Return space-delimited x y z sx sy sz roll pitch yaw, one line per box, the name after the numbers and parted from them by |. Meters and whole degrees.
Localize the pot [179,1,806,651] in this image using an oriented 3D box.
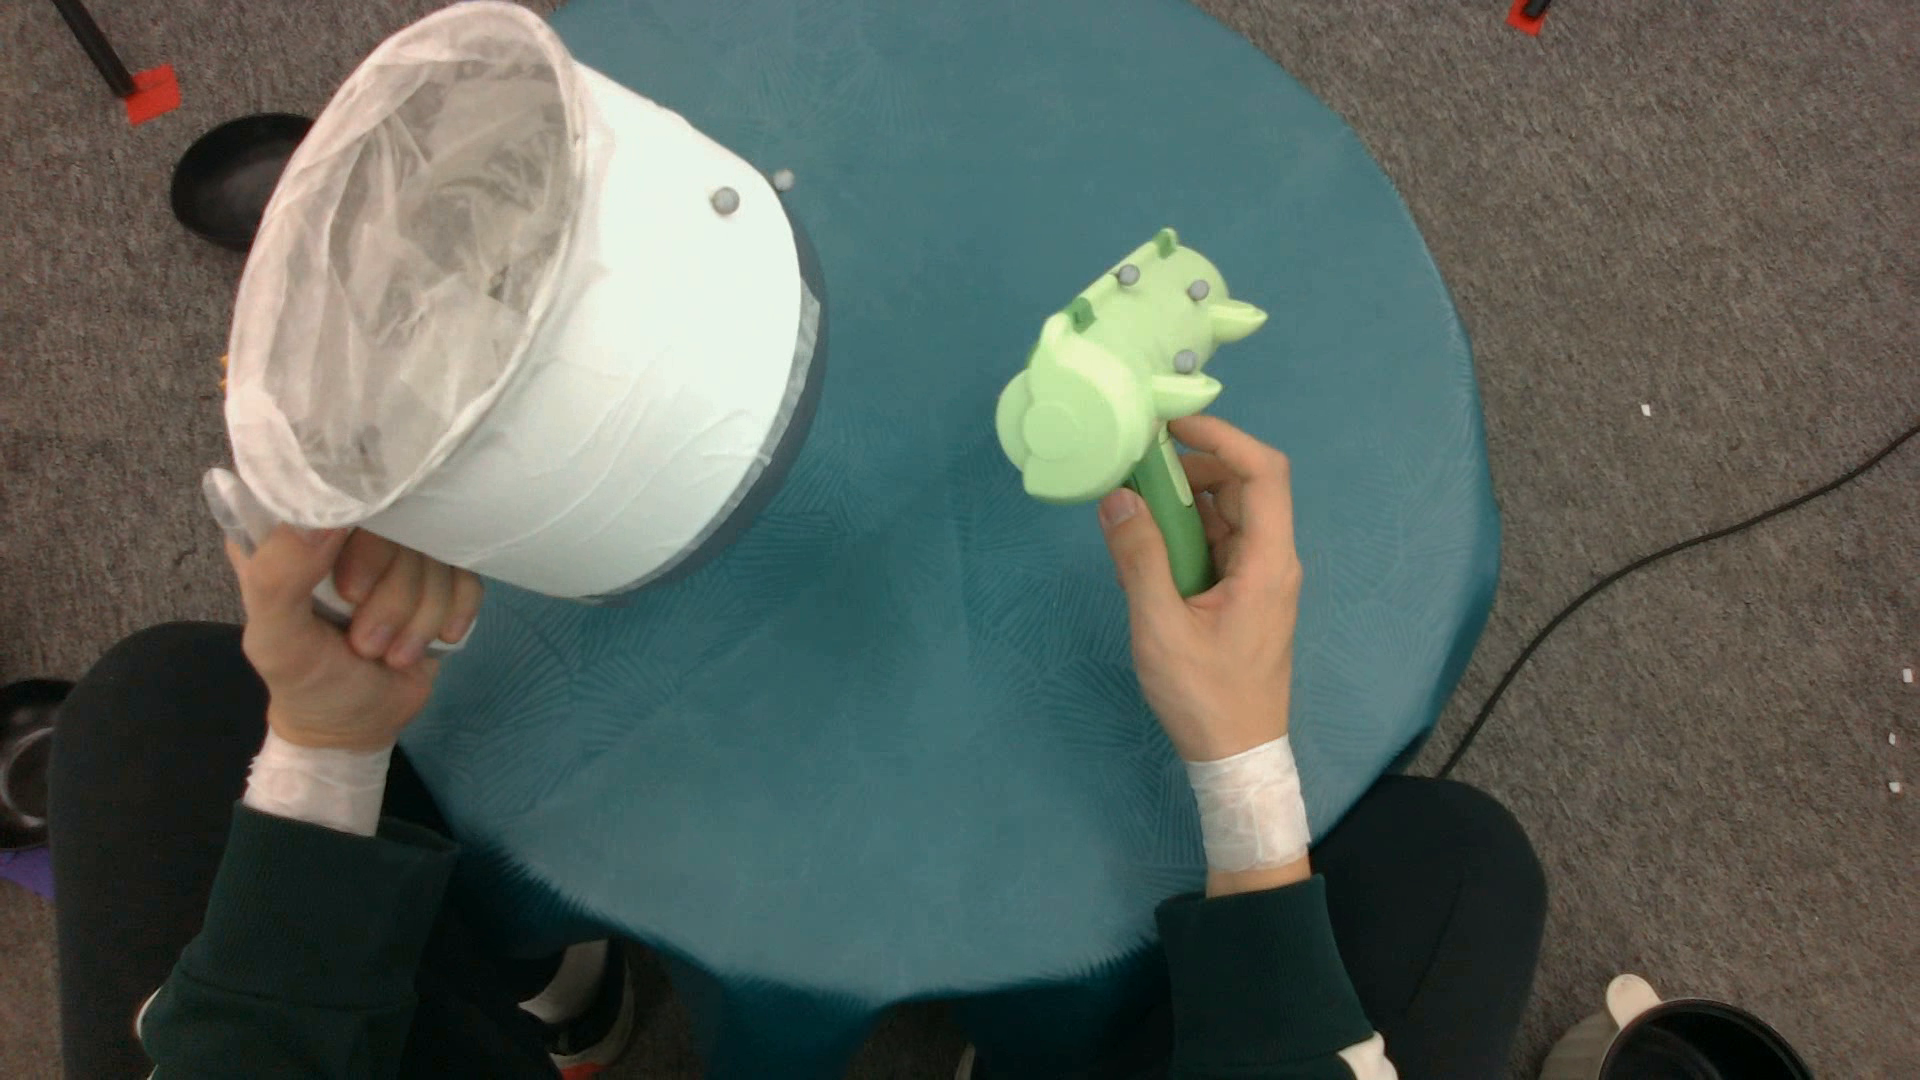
-0.172 -0.055 0.492 0.233 0.136 0.179 -48 55 13 | pot

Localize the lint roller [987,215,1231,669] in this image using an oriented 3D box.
0.086 -0.034 0.570 0.082 0.199 0.183 -20 105 22 | lint roller
